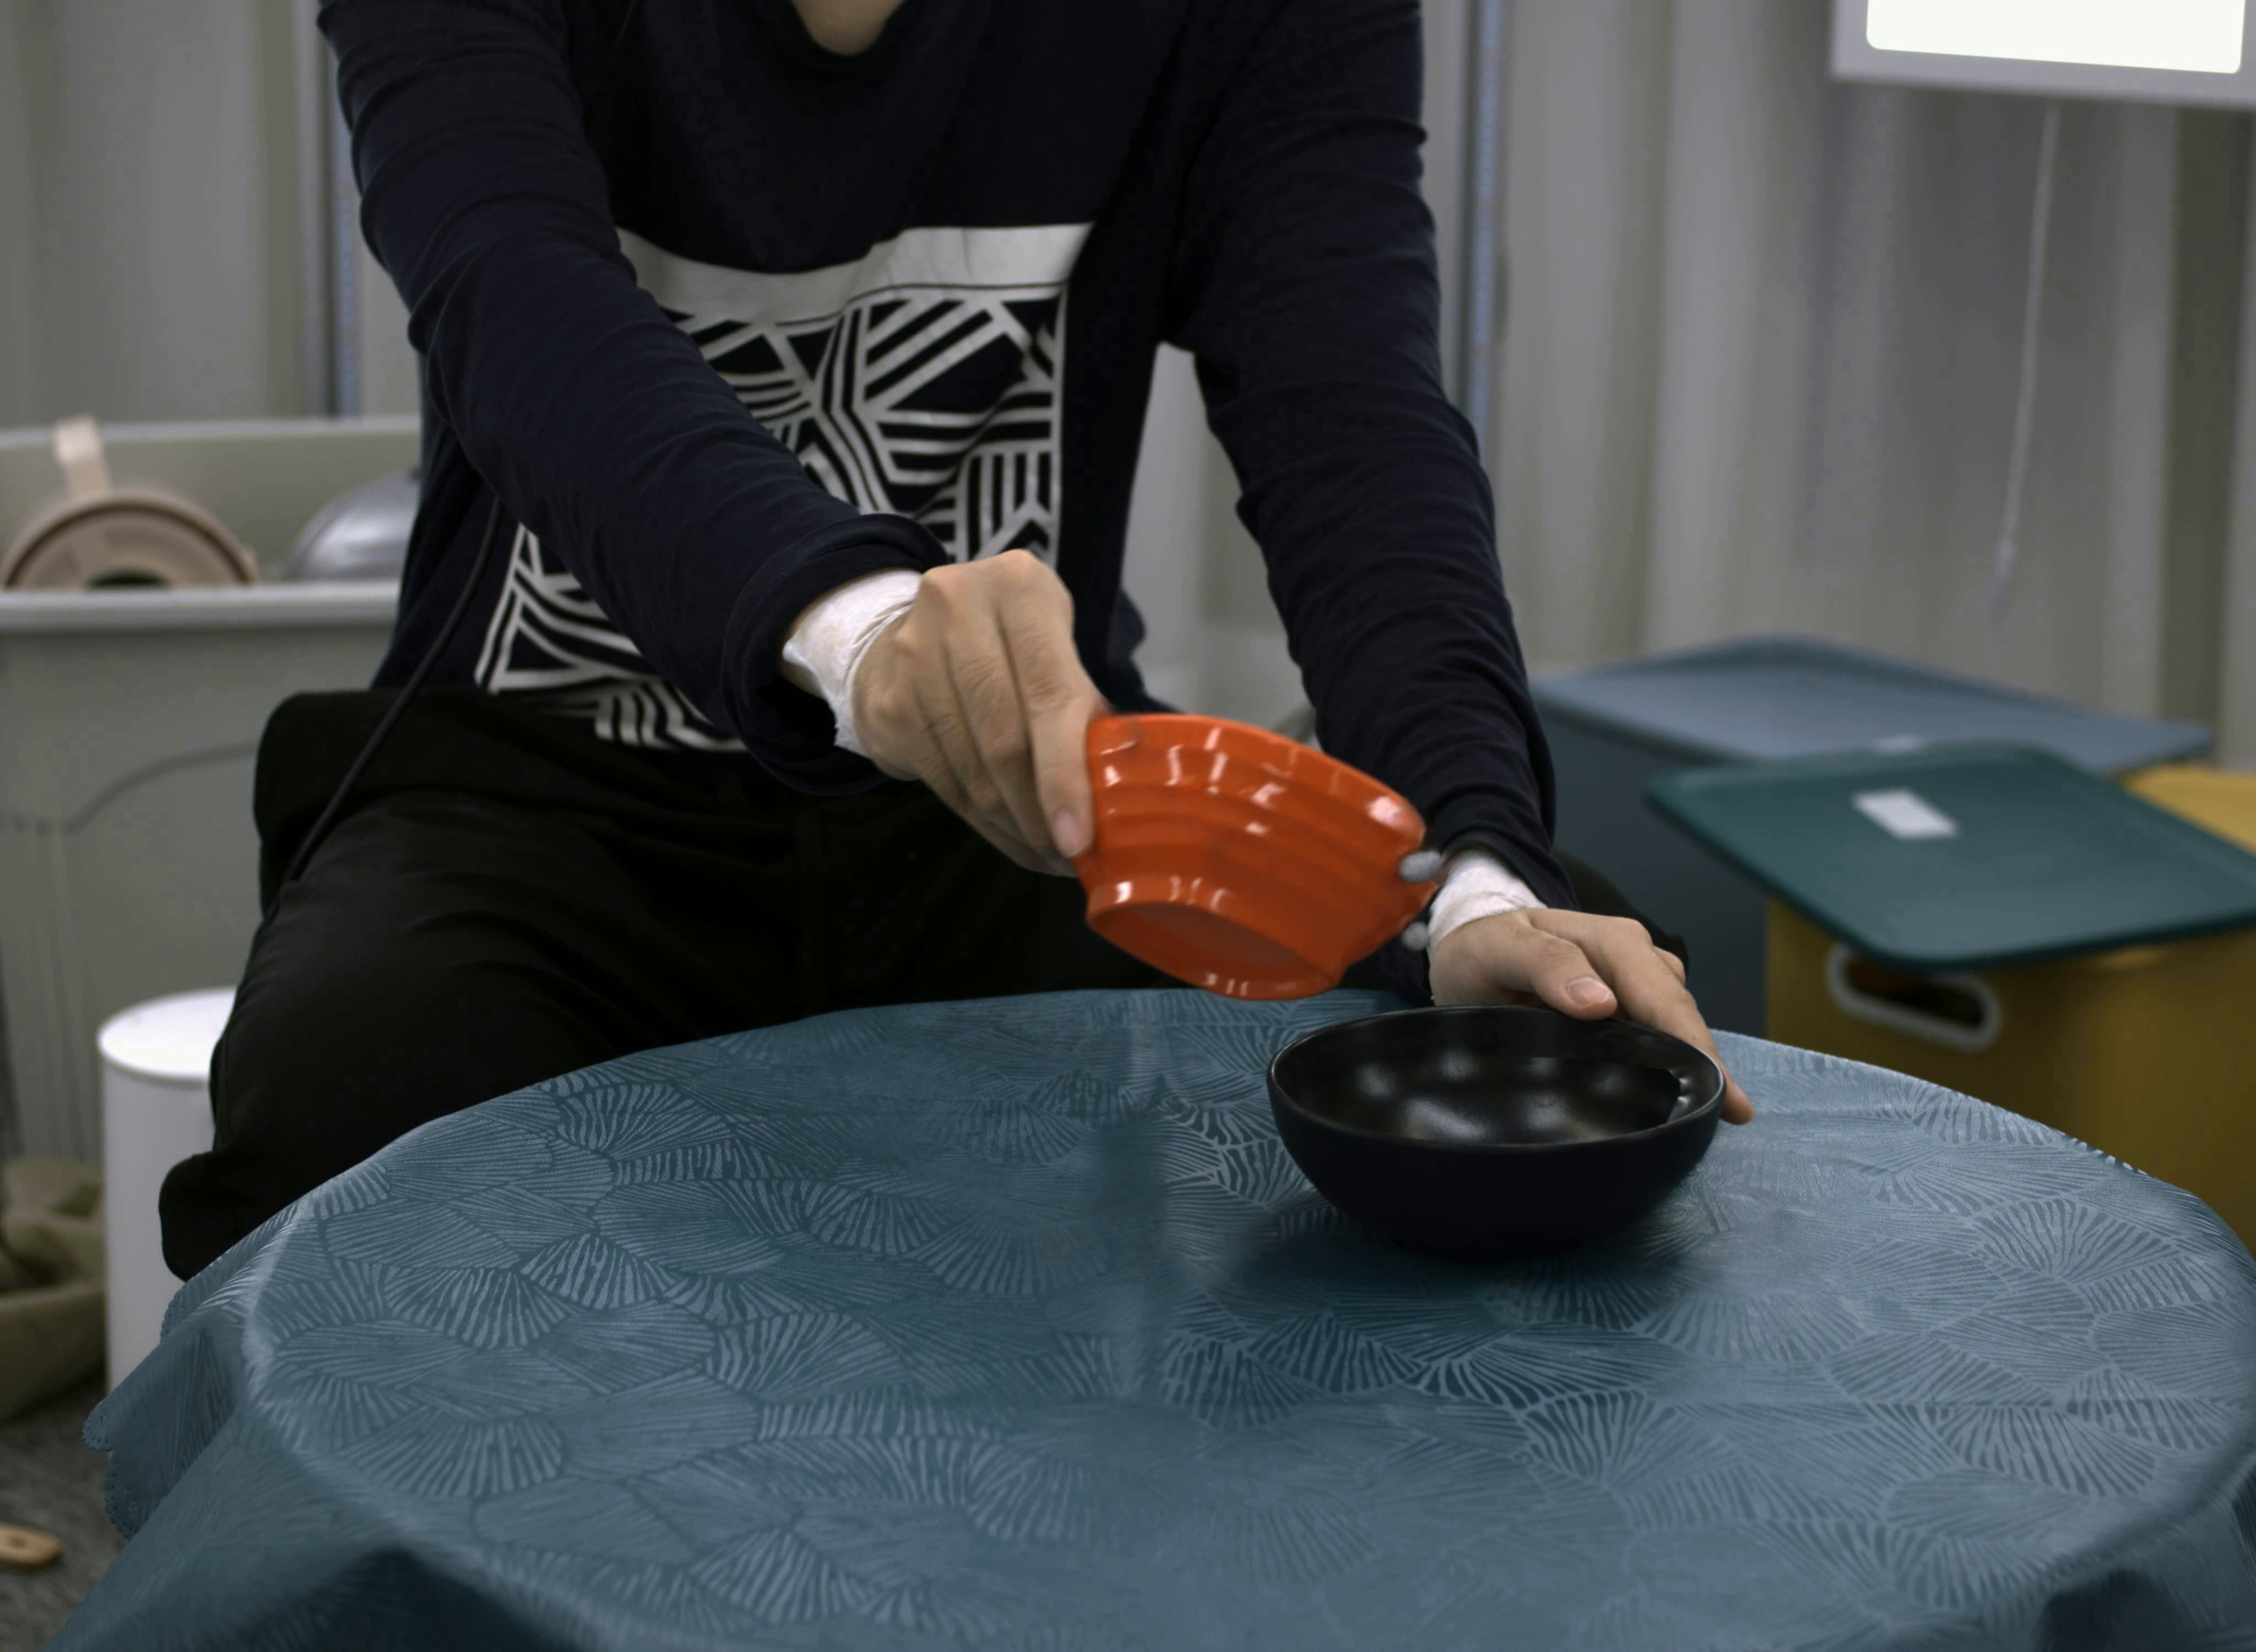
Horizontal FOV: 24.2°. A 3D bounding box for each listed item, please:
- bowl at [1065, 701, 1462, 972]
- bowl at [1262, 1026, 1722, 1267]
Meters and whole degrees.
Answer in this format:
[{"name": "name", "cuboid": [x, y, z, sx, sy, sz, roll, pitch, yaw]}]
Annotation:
[{"name": "bowl", "cuboid": [0.034, 0.007, 1.522, 0.118, 0.051, 0.119, 13, -13, 4]}, {"name": "bowl", "cuboid": [0.110, 0.100, 1.592, 0.139, 0.050, 0.139, -1, 11, 1]}]
